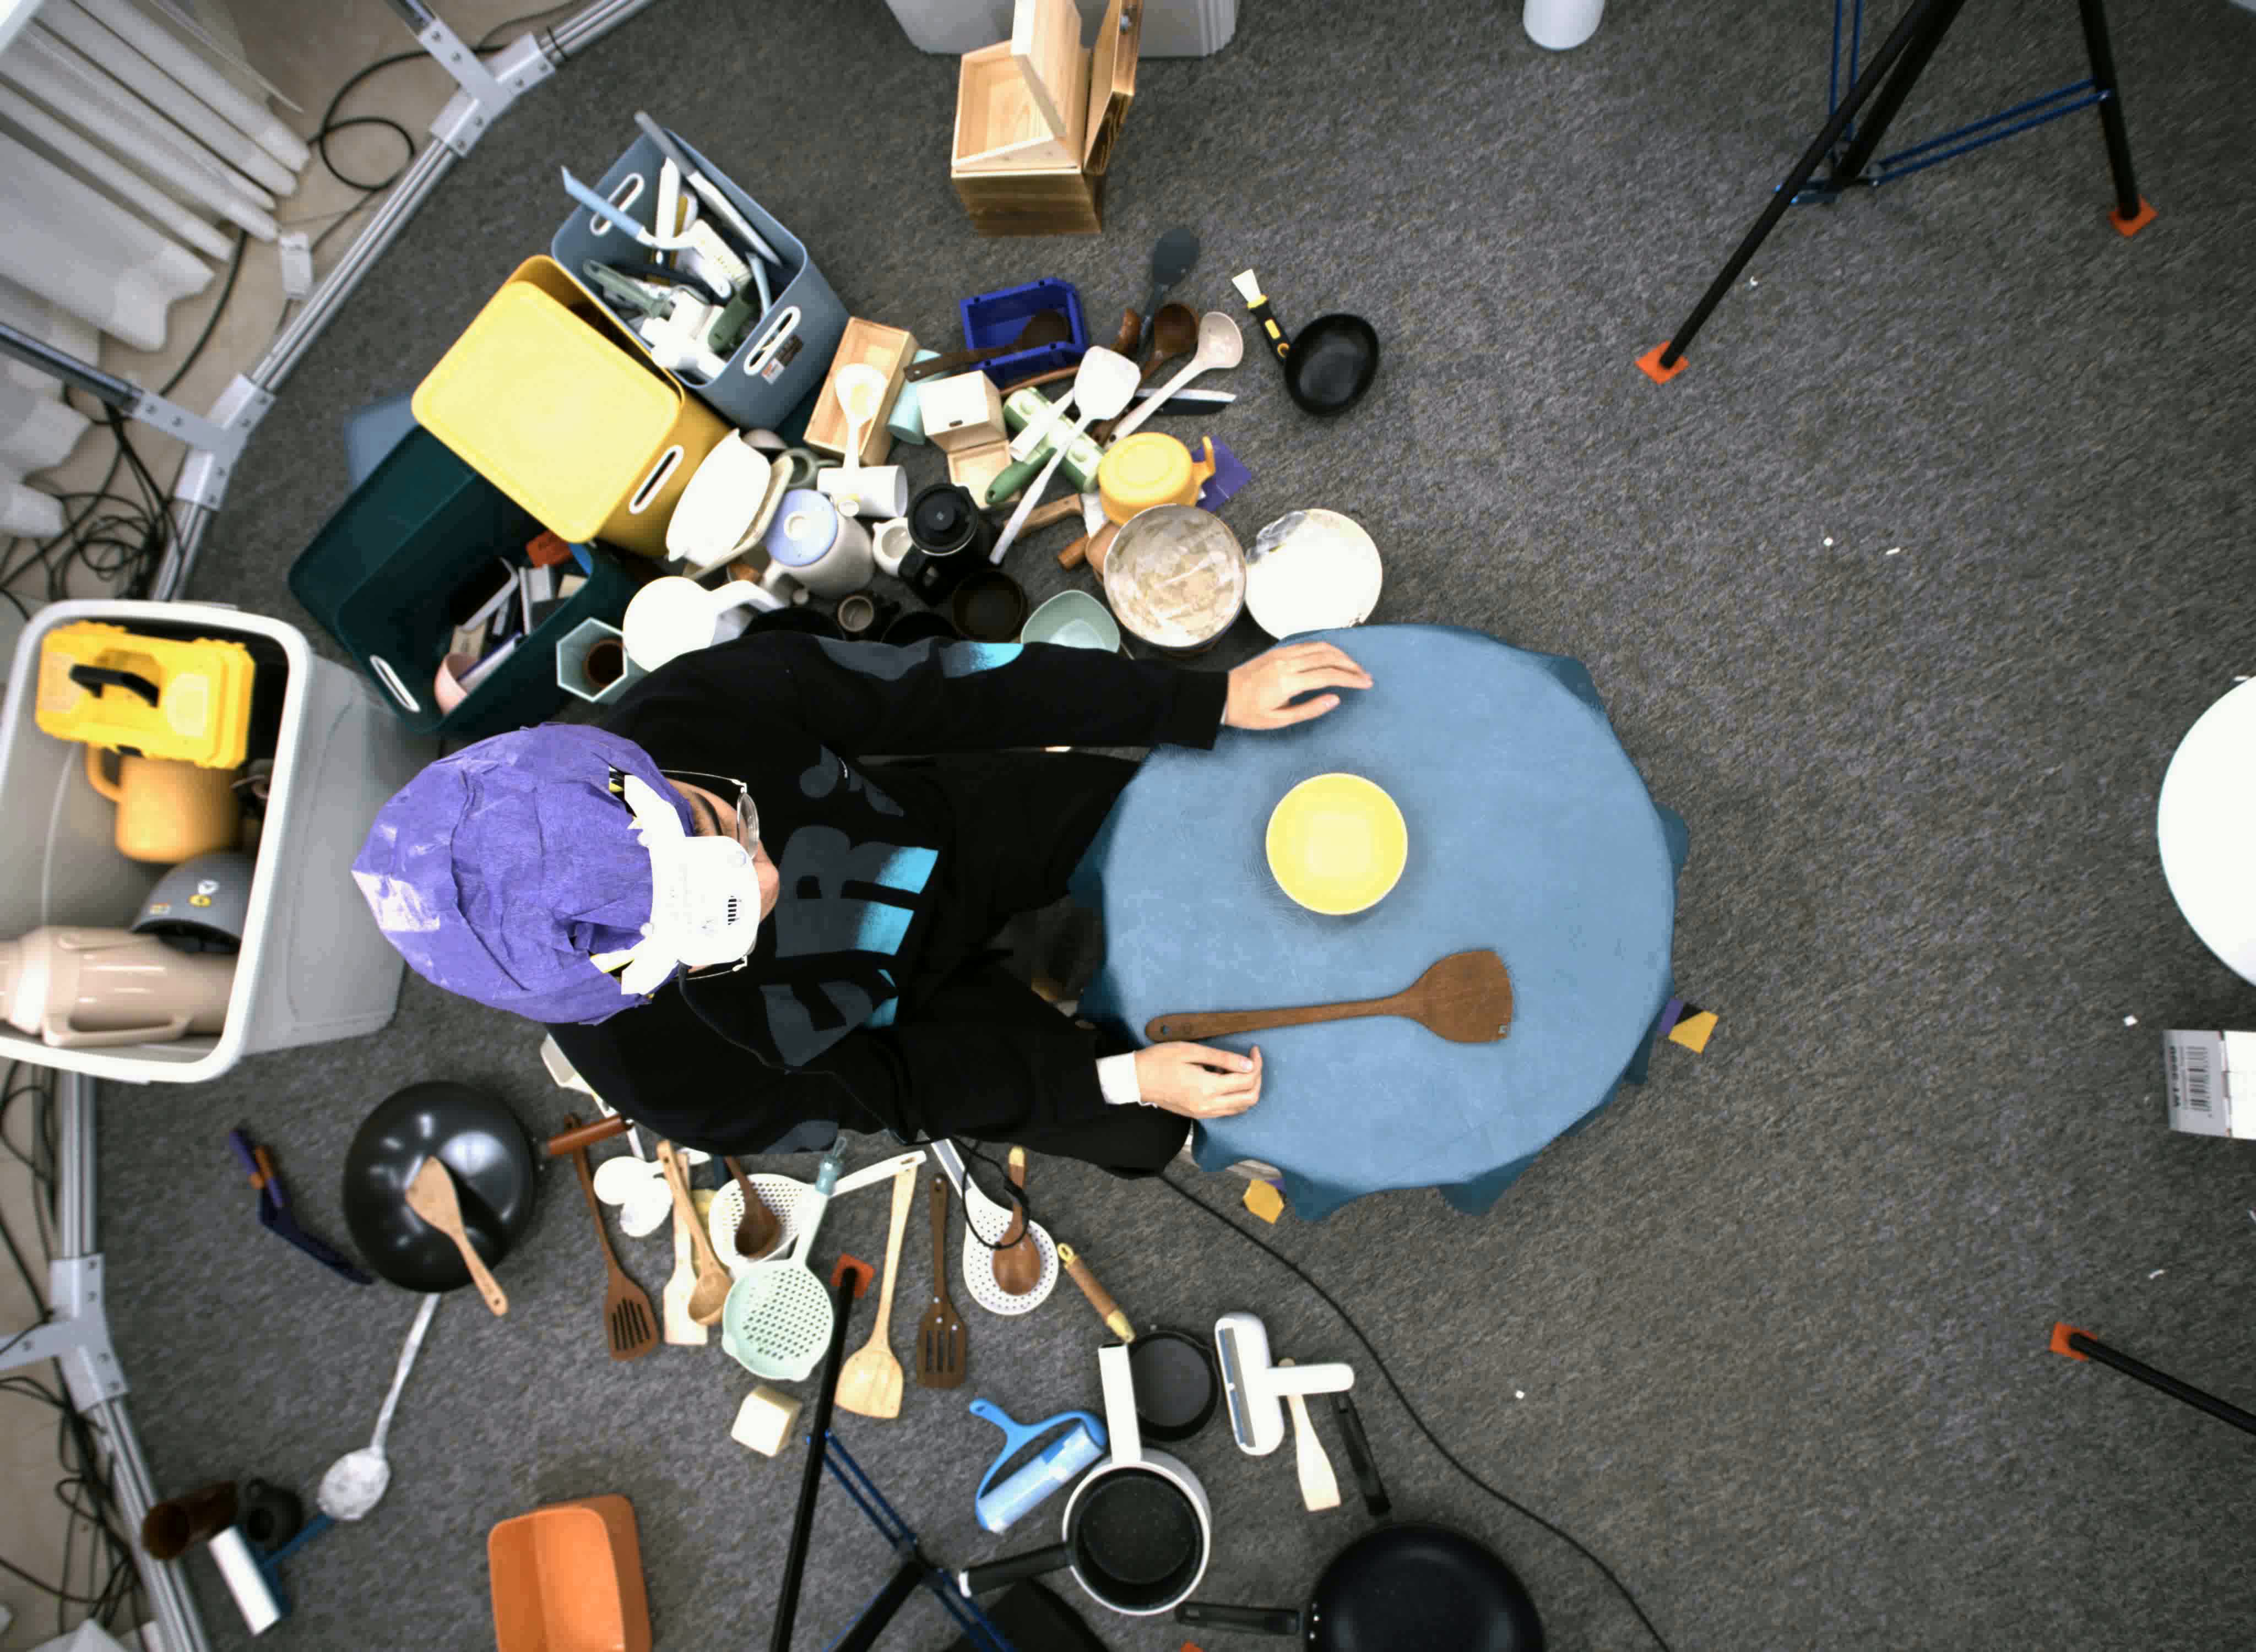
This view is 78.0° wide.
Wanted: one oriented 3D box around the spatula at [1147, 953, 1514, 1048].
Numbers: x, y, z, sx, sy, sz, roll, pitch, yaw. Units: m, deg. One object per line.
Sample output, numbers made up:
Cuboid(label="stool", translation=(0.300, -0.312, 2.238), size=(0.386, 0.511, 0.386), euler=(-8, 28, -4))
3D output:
Cuboid(label="spatula", translation=(0.209, 0.199, 1.460), size=(0.388, 0.016, 0.095), euler=(-8, 84, 10))

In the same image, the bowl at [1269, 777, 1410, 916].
Cuboid(label="bowl", translation=(0.223, 0.023, 1.449), size=(0.146, 0.060, 0.144), euler=(-1, 85, 12))
